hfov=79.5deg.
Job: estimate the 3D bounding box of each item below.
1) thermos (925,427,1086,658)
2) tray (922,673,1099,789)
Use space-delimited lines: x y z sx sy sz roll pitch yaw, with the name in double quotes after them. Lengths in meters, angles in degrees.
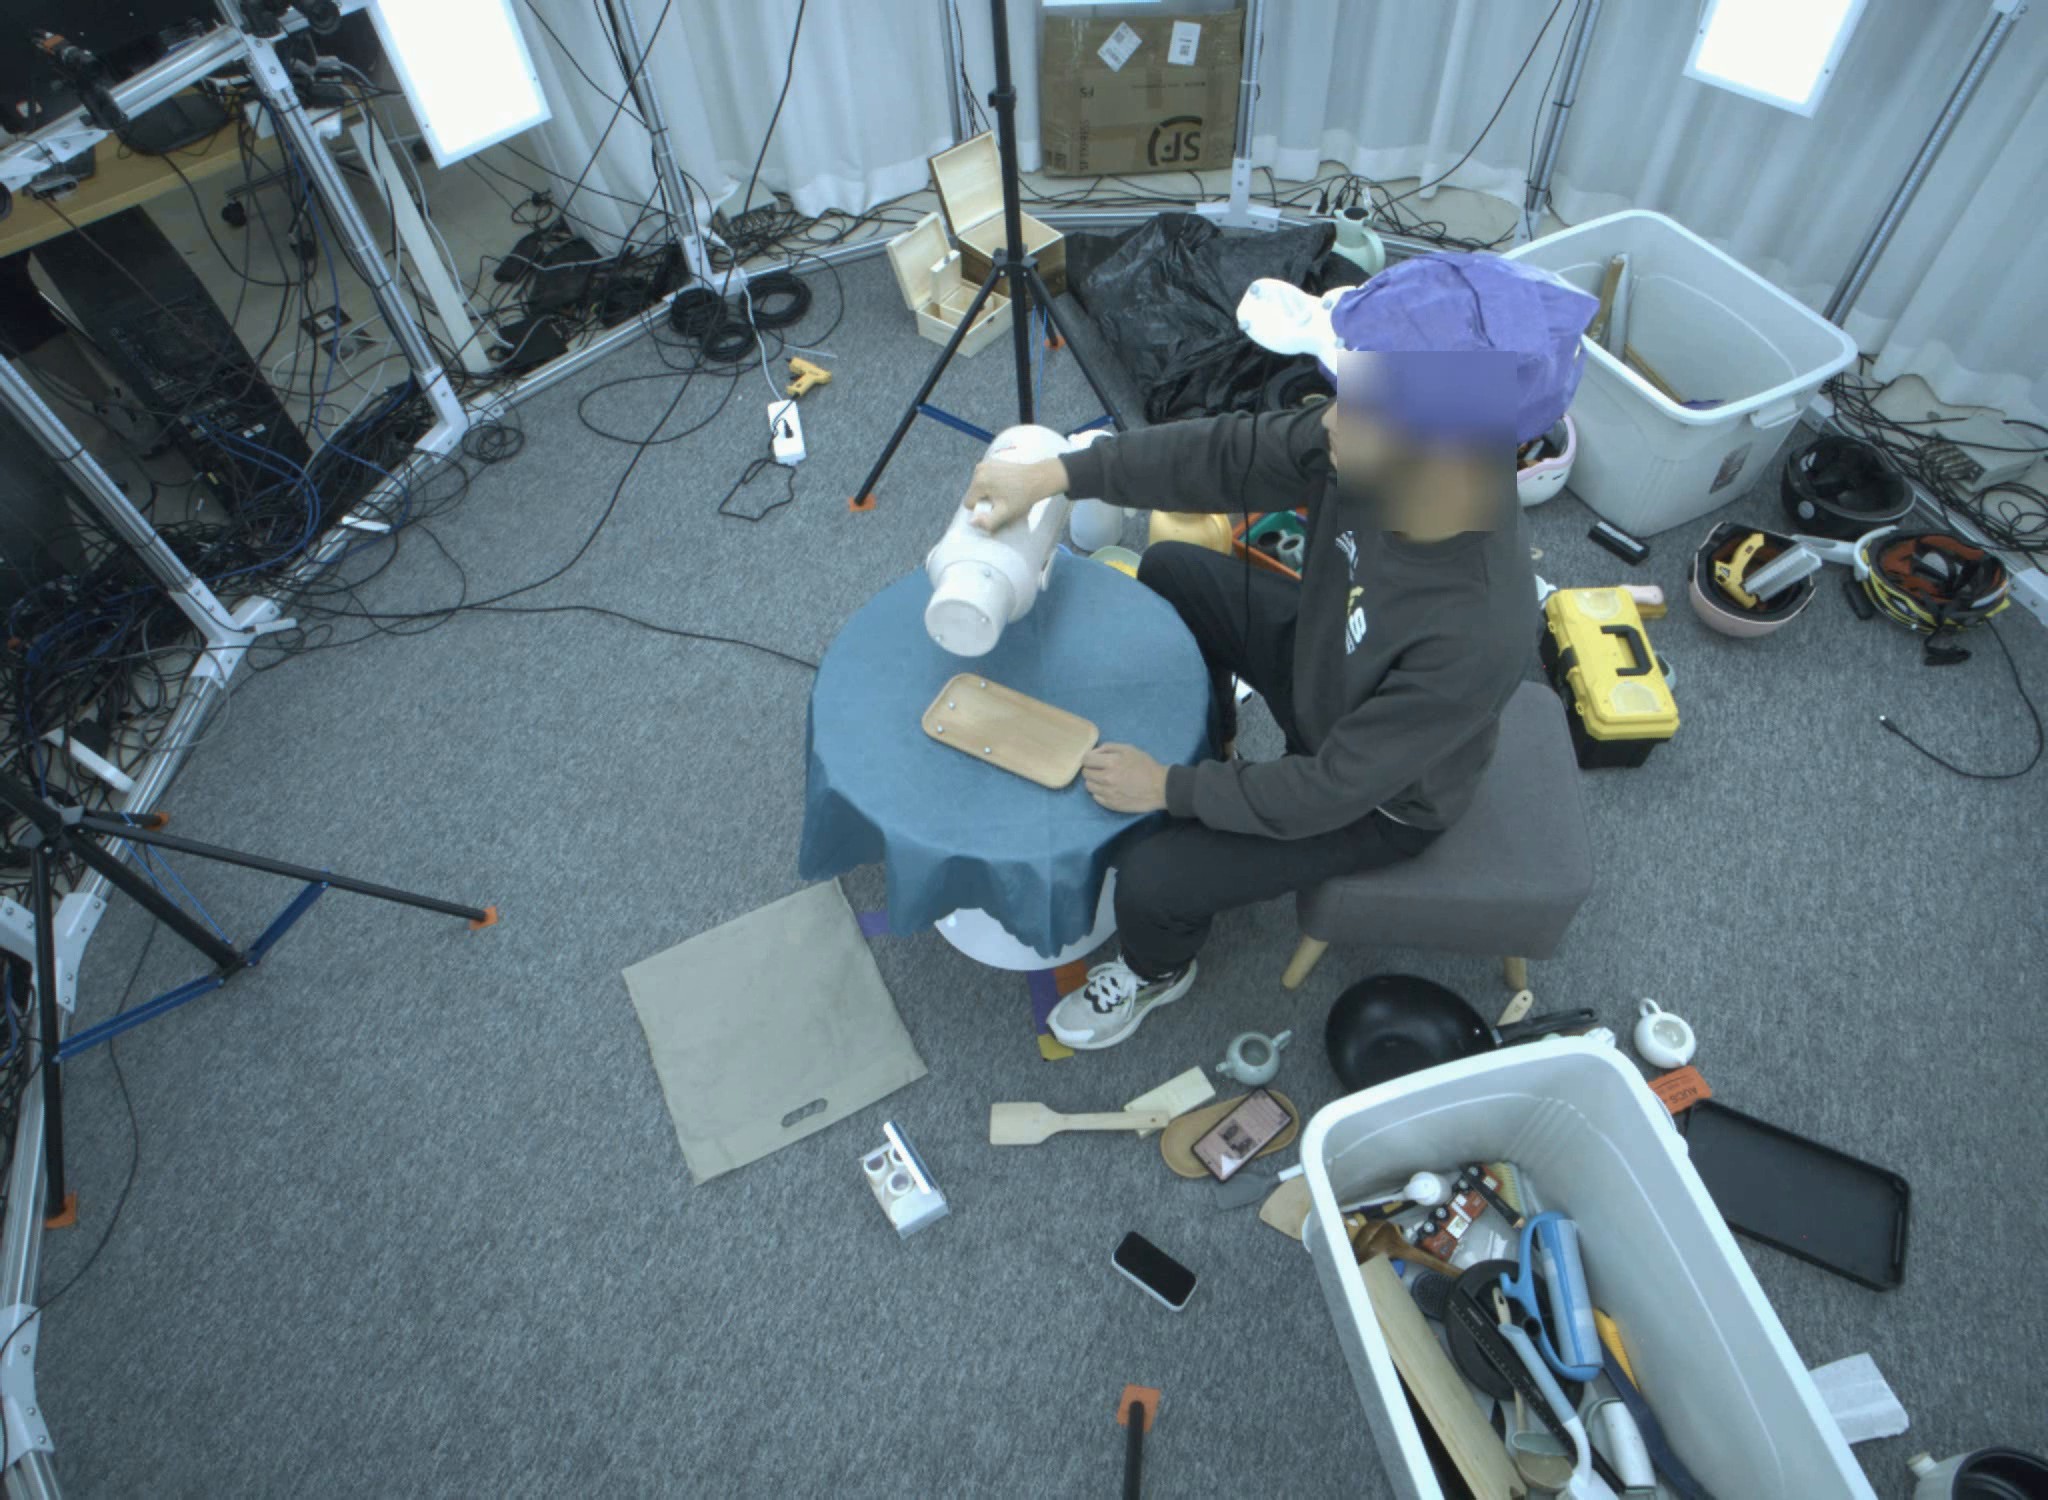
-0.031 -0.313 1.771 0.174 0.209 0.405 11 48 11 "thermos"
-0.020 -0.029 1.797 0.247 0.023 0.131 24 61 17 "tray"
